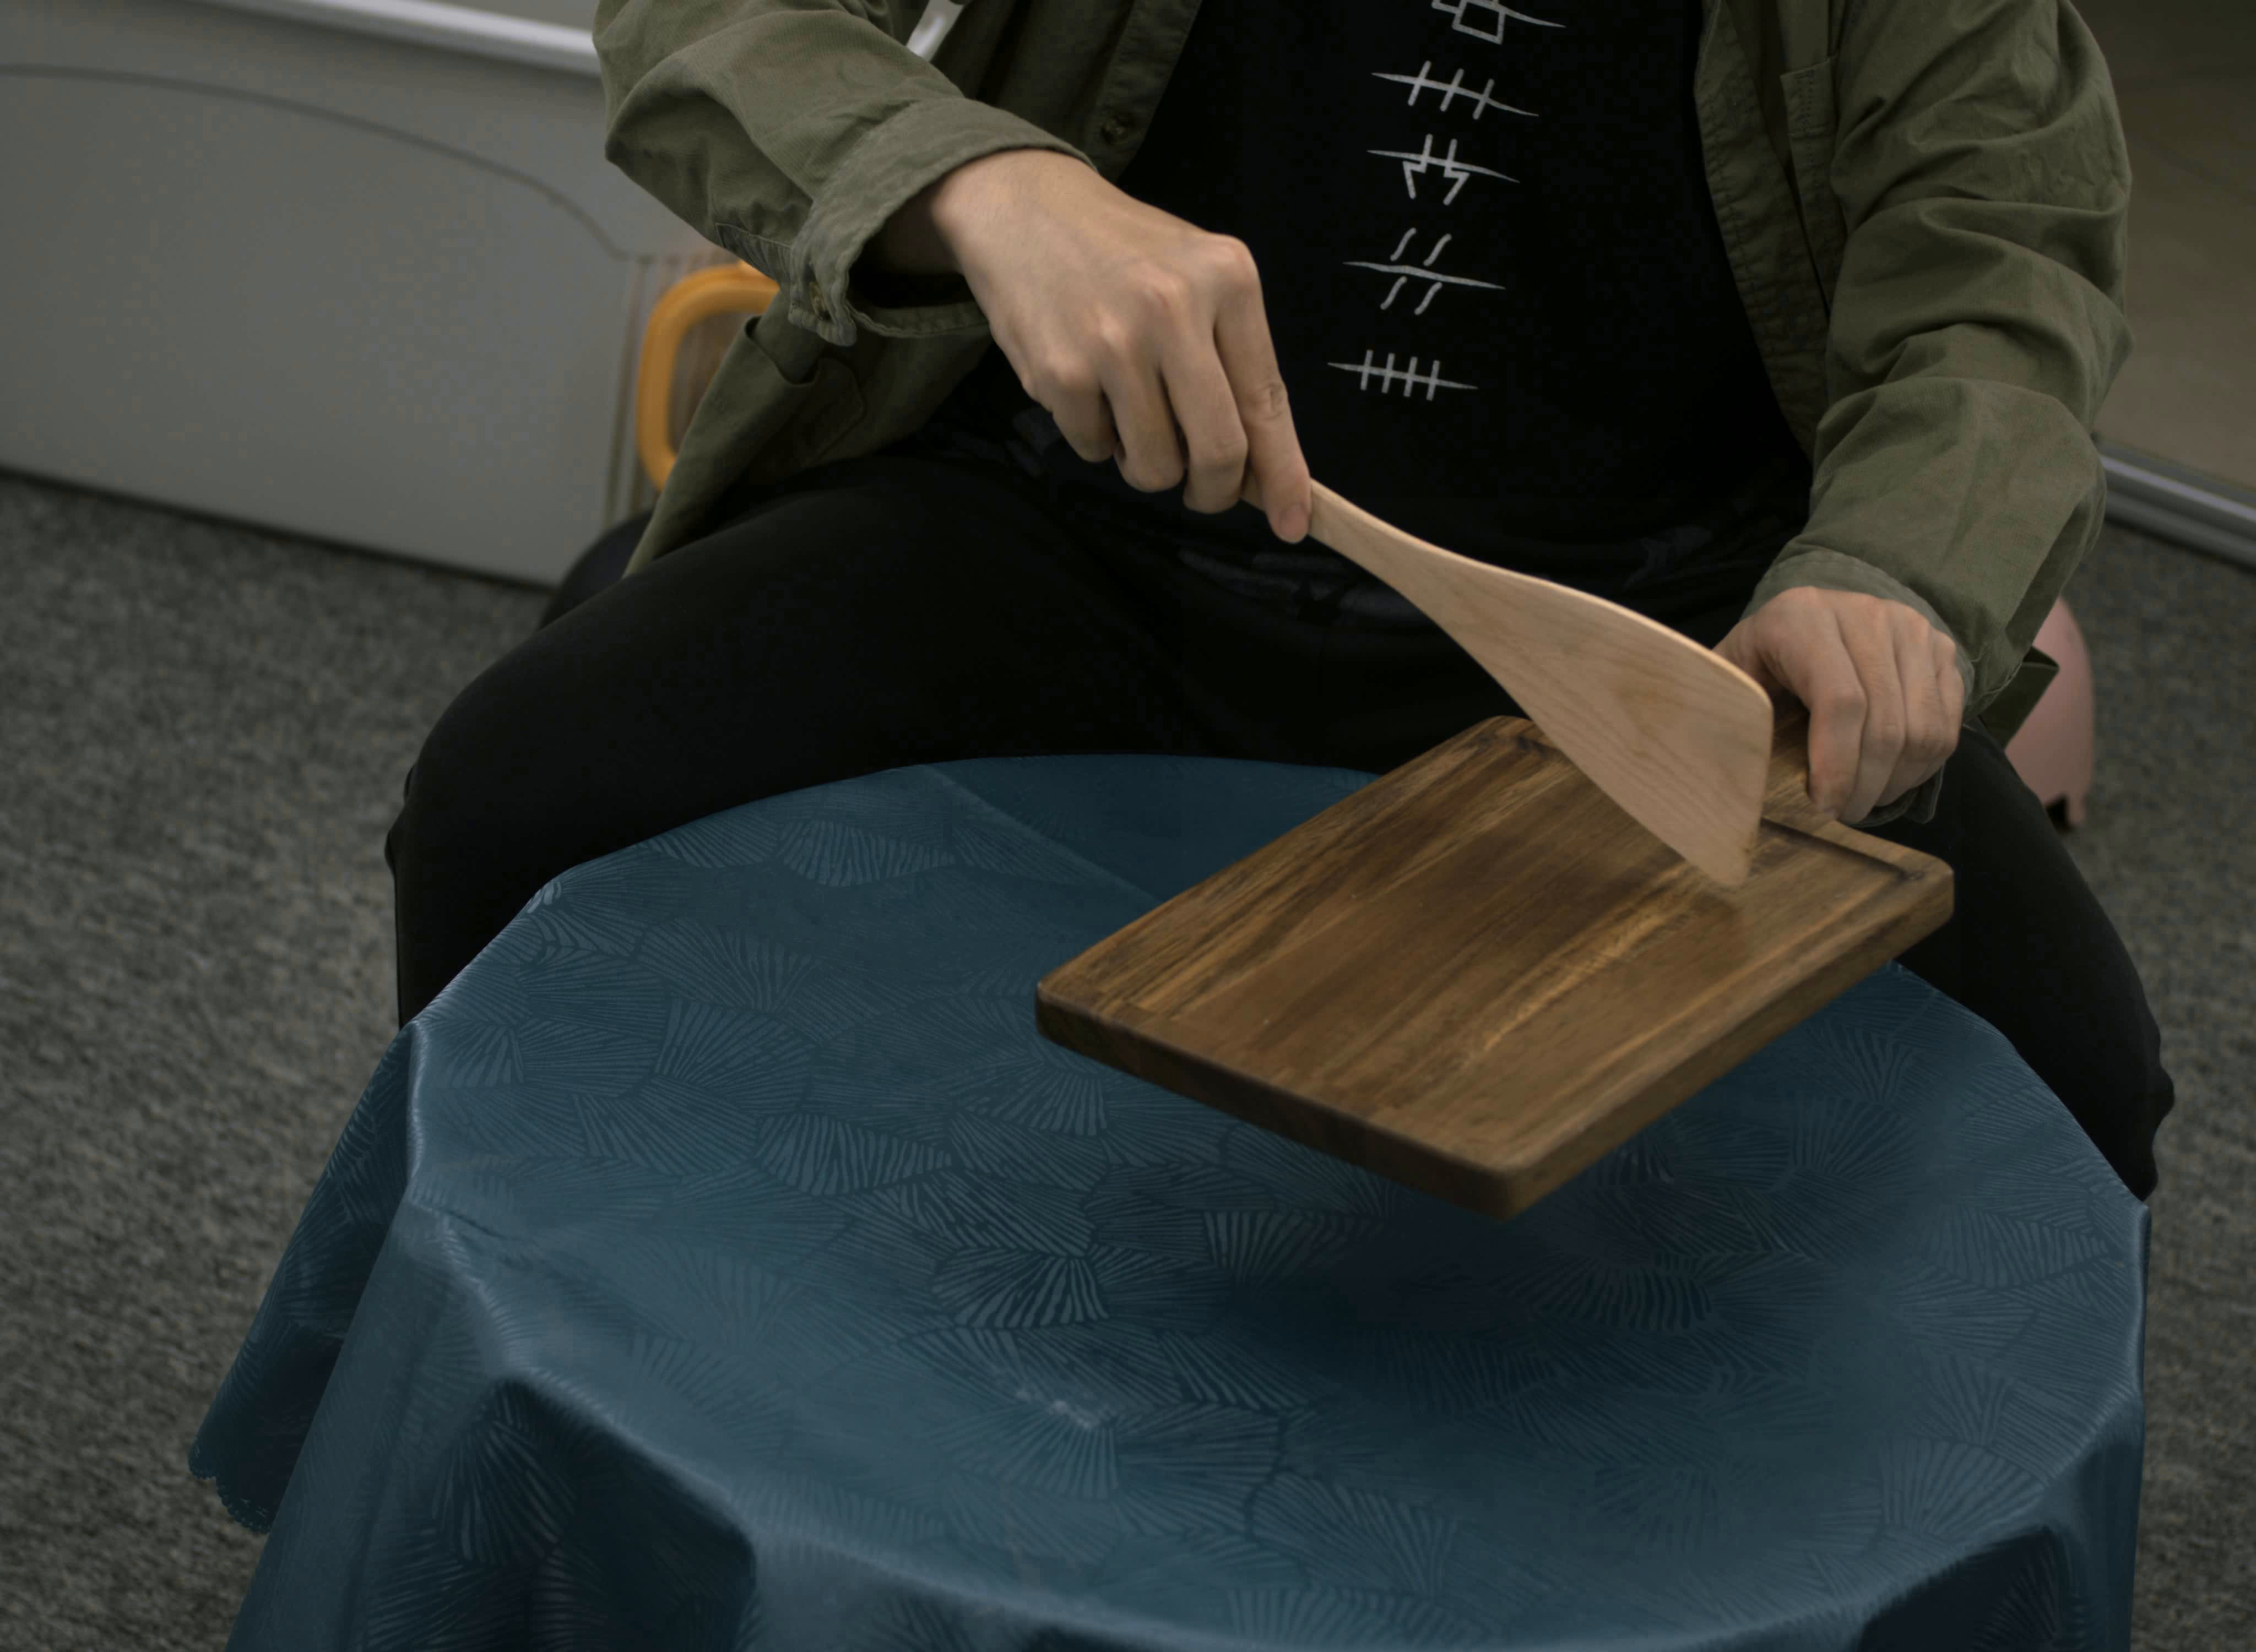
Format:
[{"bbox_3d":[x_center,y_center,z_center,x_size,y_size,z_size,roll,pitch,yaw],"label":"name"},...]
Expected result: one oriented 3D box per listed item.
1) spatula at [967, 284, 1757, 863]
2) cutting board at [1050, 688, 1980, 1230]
[{"bbox_3d":[0.075,-0.098,1.778,0.329,0.079,0.016,32,43,19],"label":"spatula"},{"bbox_3d":[0.161,0.026,1.758,0.202,0.023,0.351,20,35,39],"label":"cutting board"}]
